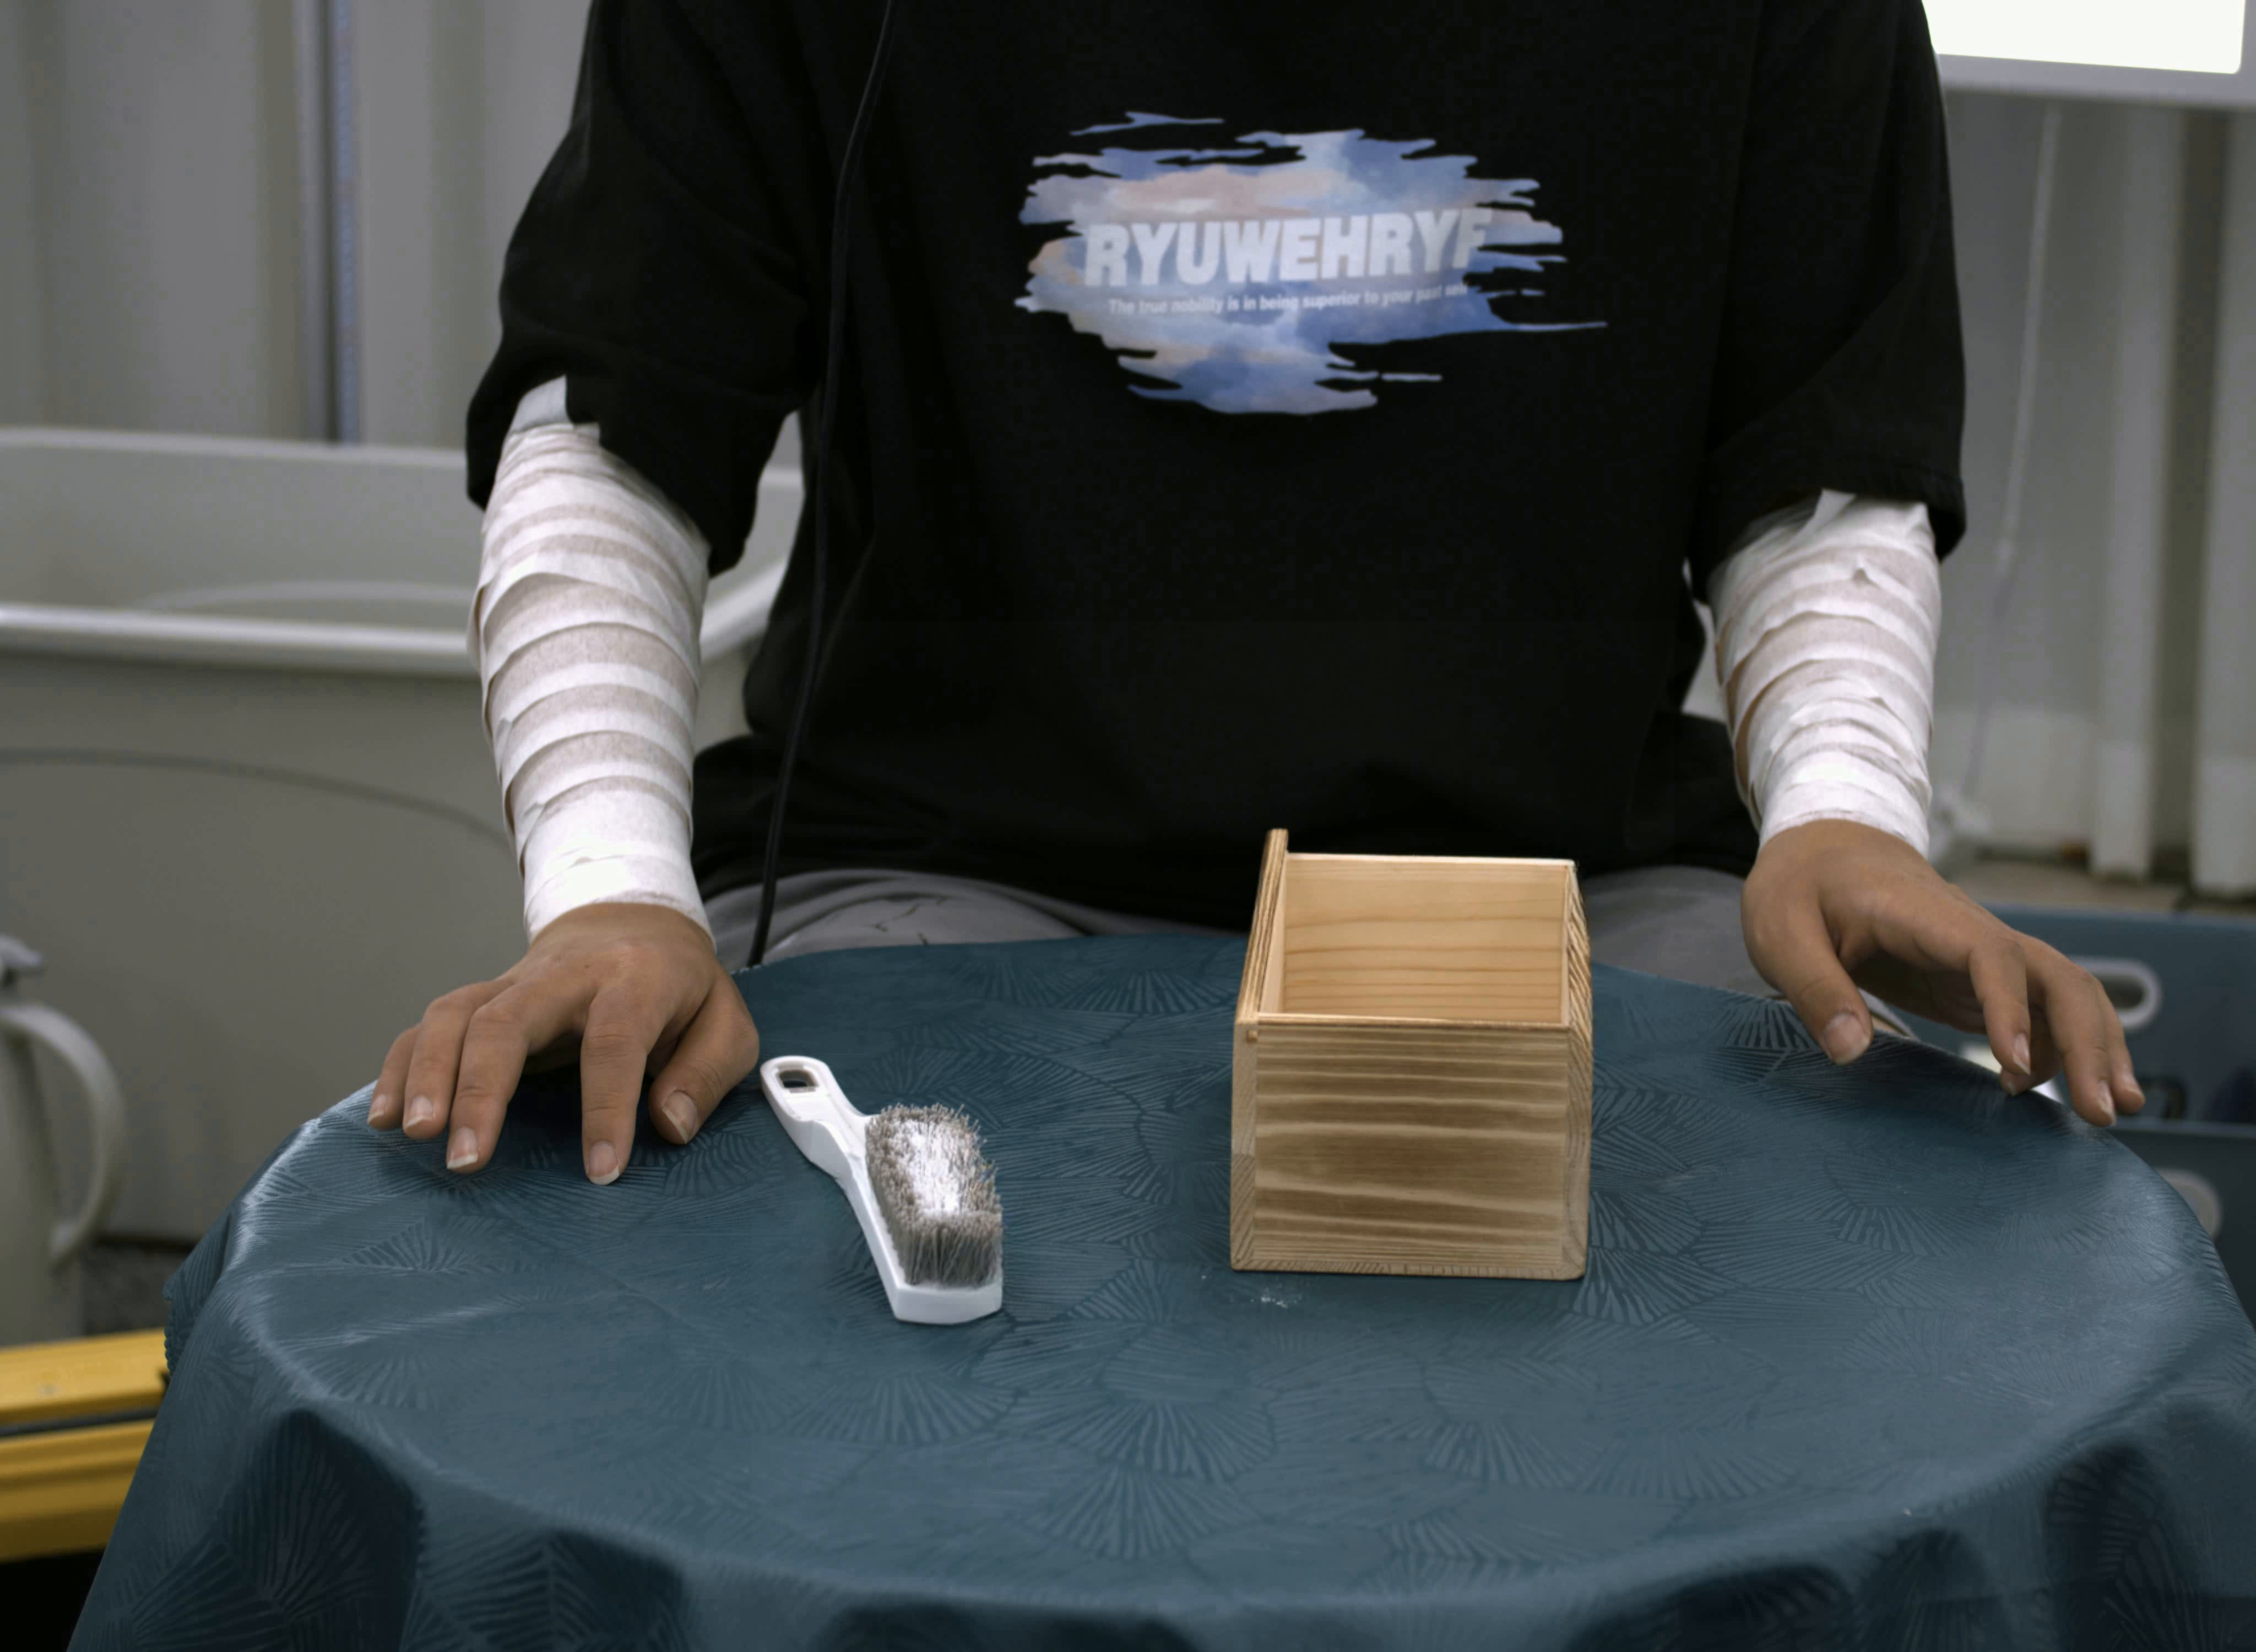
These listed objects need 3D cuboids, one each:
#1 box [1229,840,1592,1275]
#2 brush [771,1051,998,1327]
[{"bbox_3d":[0.089,0.068,1.639,0.107,0.081,0.210,1,14,3],"label":"box"},{"bbox_3d":[-0.079,0.090,1.606,0.034,0.050,0.241,-3,17,-13],"label":"brush"}]
